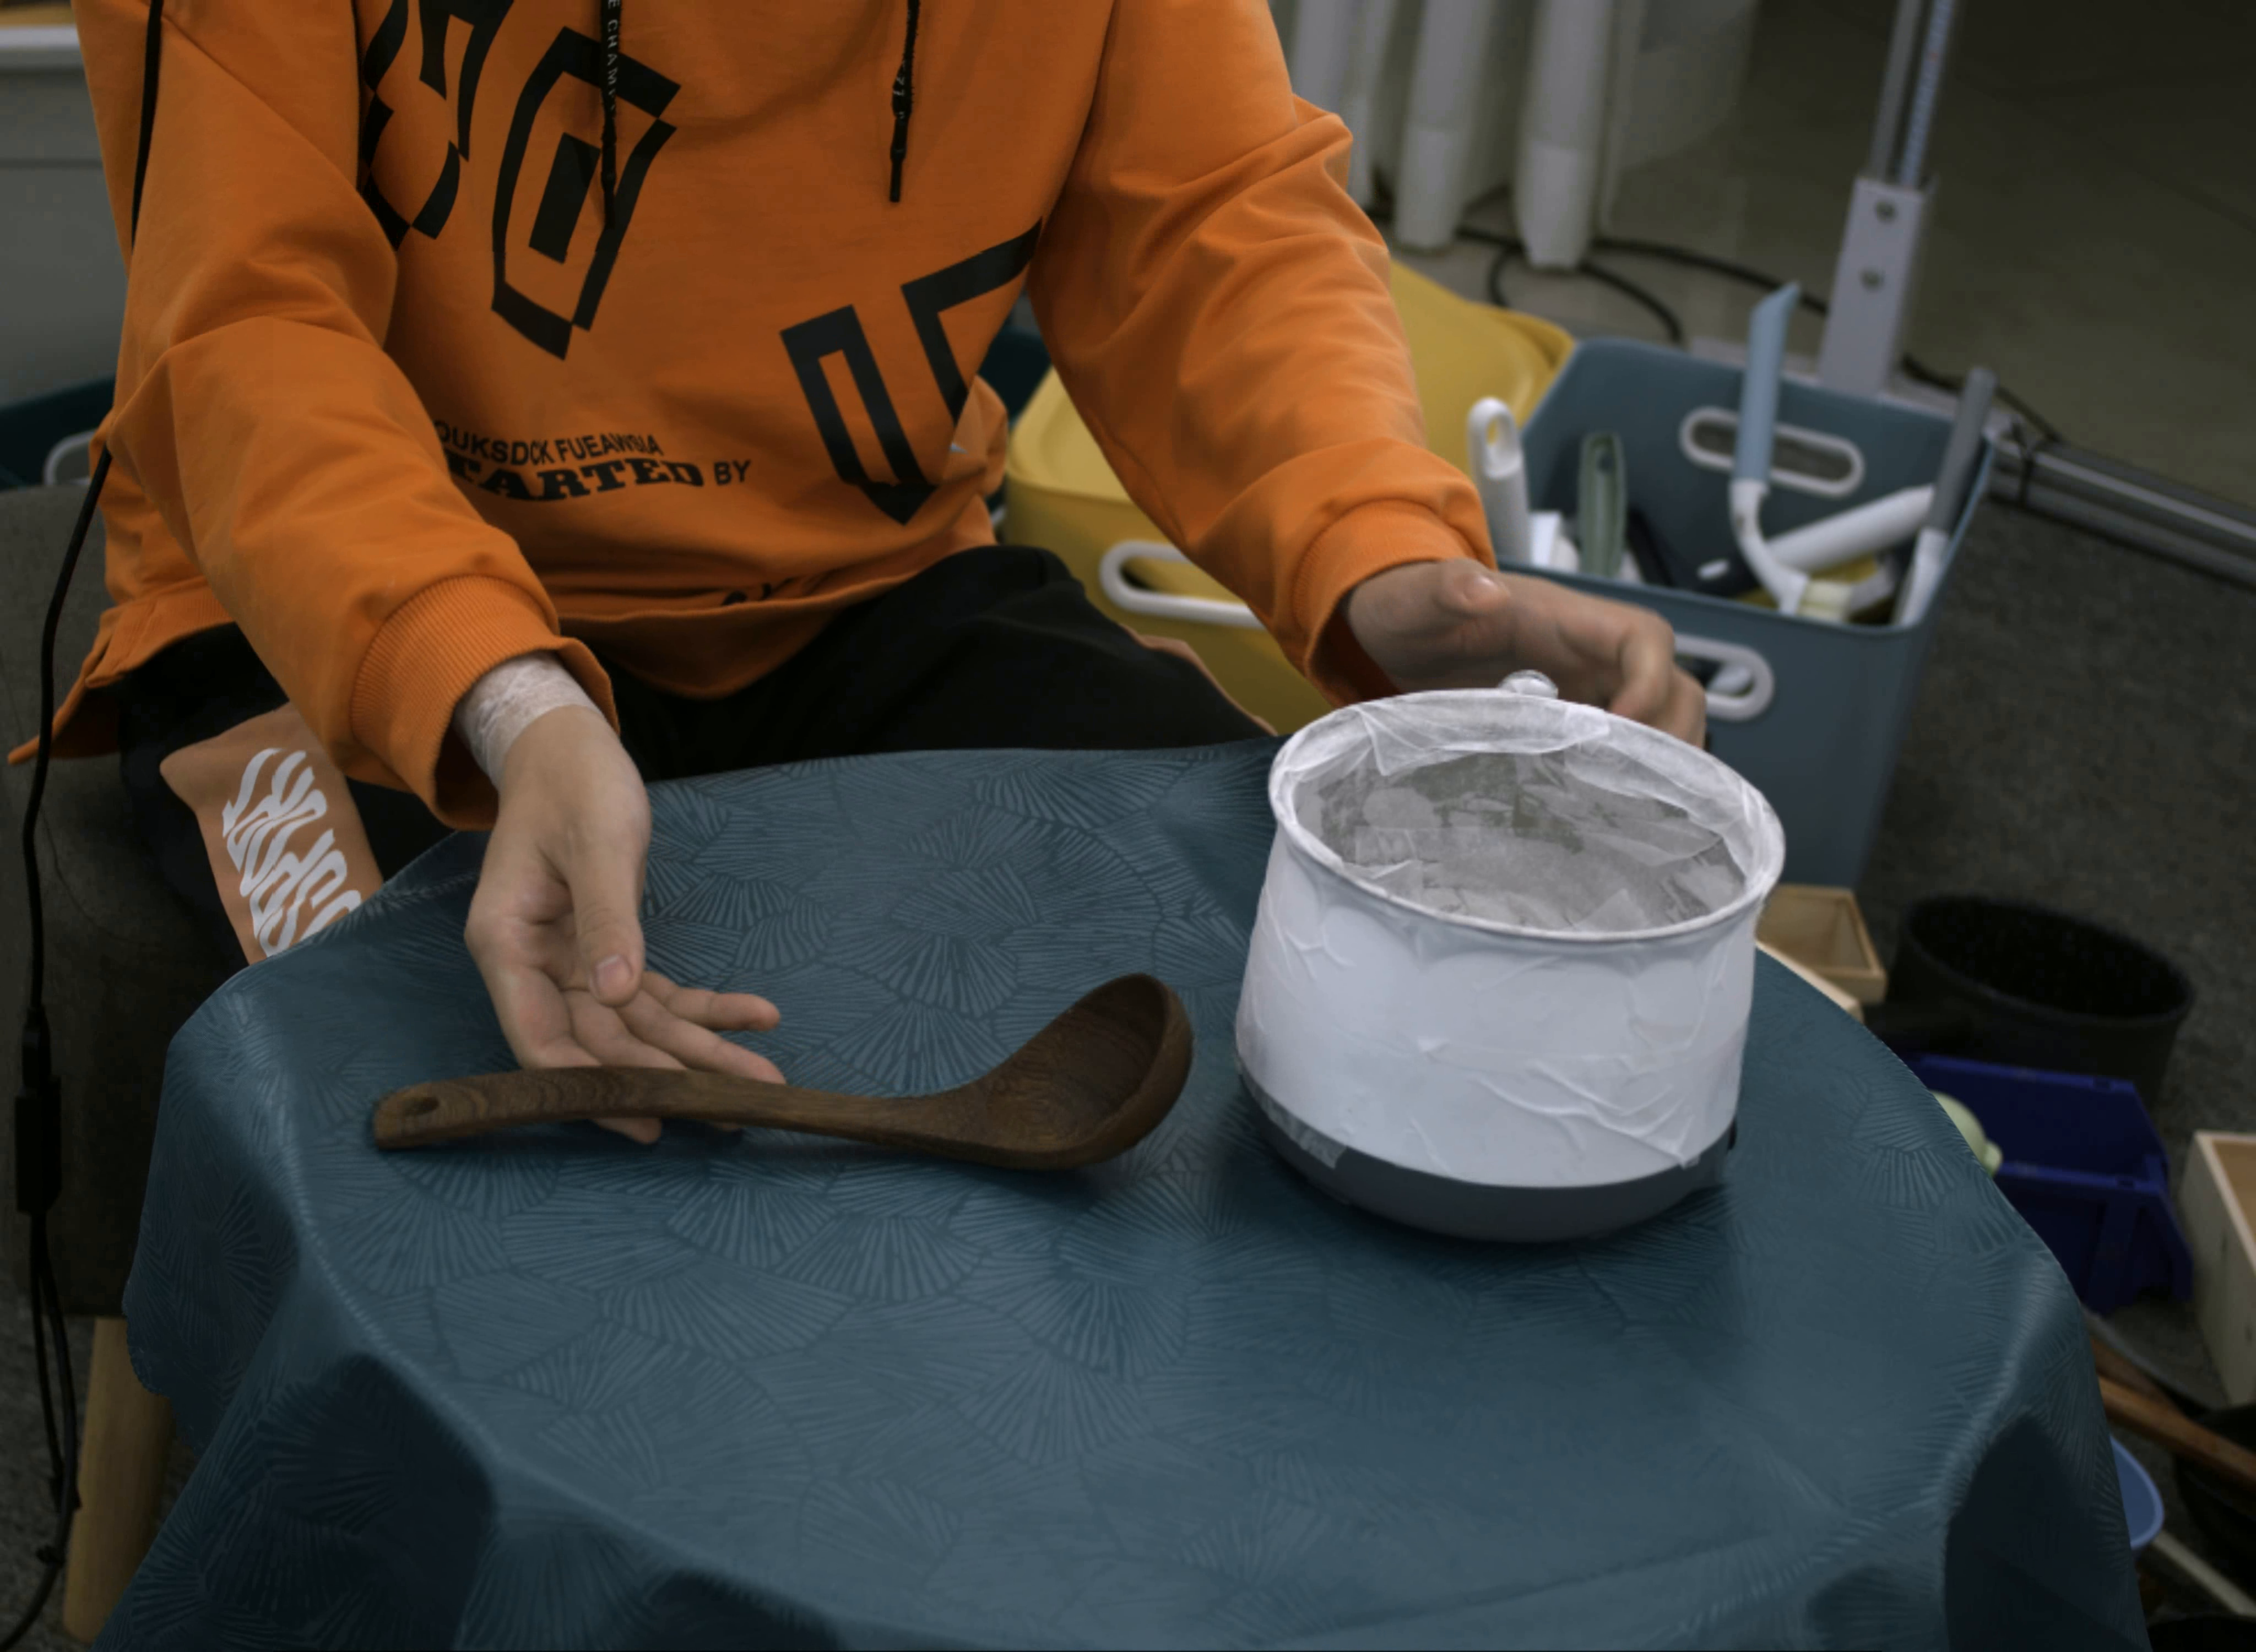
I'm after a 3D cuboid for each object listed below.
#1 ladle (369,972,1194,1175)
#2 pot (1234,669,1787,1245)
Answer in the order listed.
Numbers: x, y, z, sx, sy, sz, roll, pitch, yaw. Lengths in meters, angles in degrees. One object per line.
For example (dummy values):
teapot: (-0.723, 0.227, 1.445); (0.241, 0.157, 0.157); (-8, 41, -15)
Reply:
ladle: (-0.115, 0.078, 1.786); (0.273, 0.071, 0.076); (4, 29, -9)
pot: (0.129, 0.037, 1.850); (0.178, 0.136, 0.235); (7, 27, 0)
